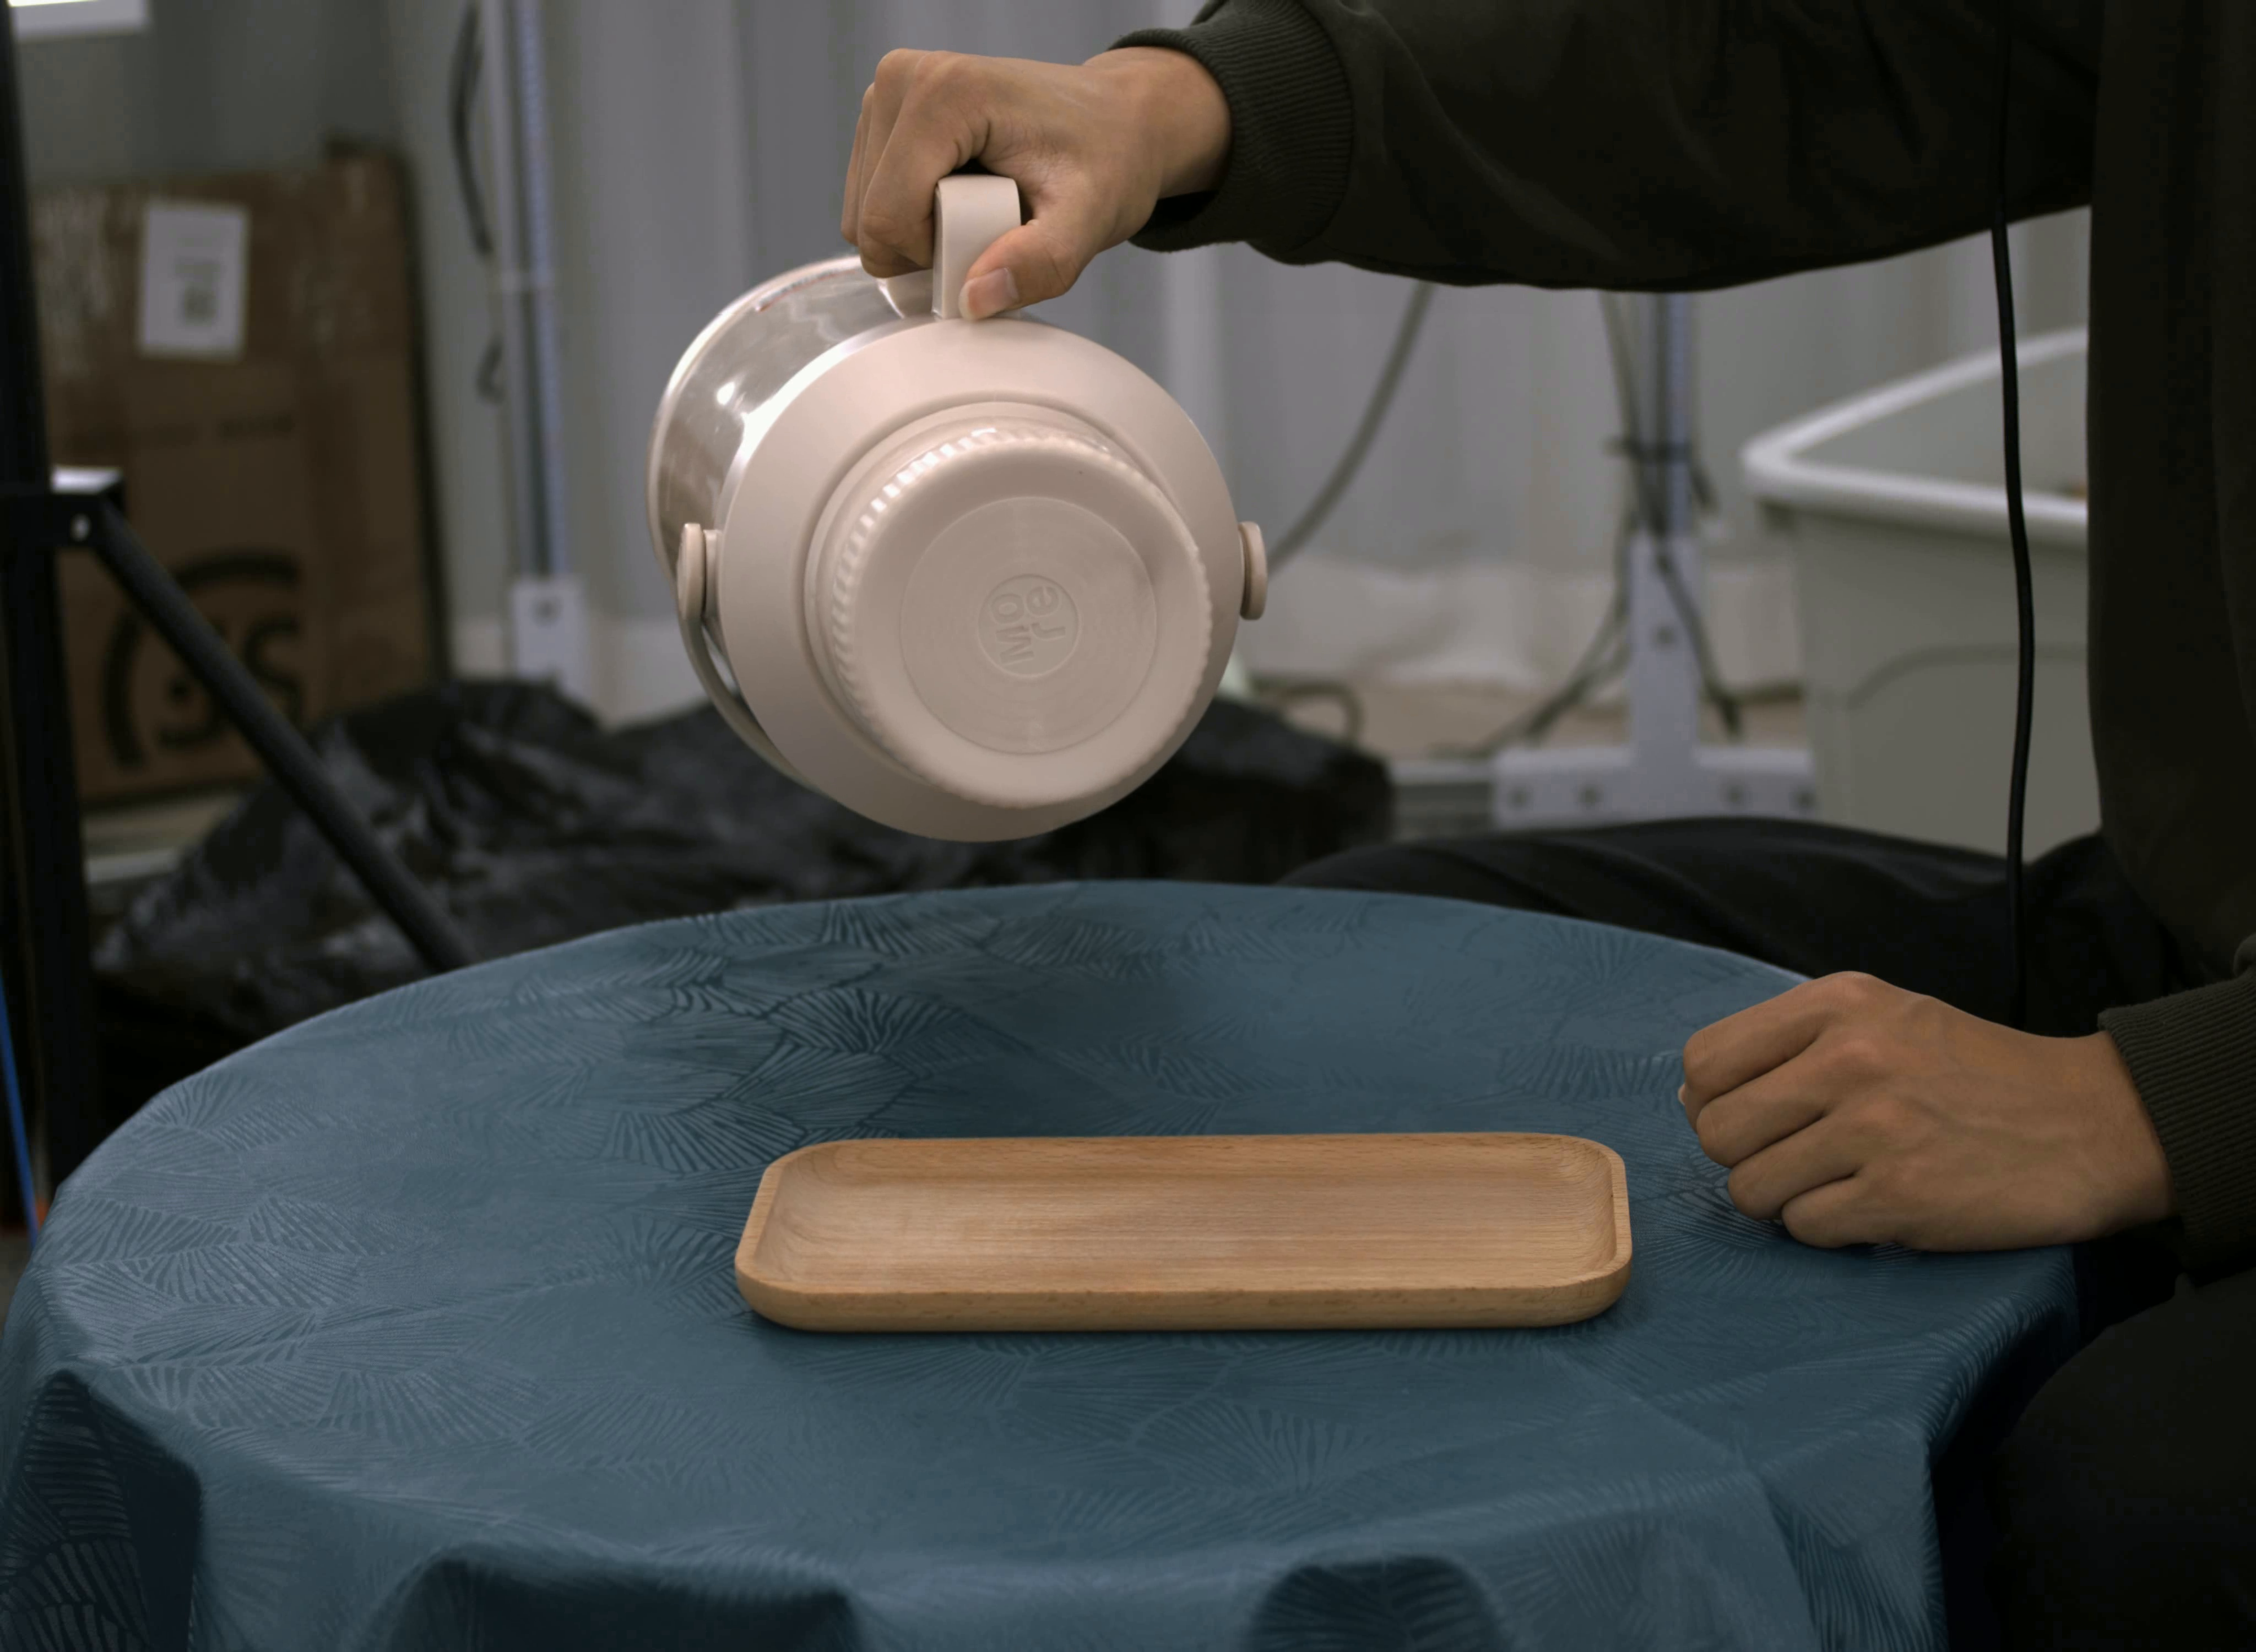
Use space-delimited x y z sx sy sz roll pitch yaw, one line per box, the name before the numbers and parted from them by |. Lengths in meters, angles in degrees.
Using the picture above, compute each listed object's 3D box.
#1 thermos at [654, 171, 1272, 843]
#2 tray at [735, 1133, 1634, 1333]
thermos | -0.055 -0.101 1.661 0.173 0.207 0.409 -1 9 -7
tray | 0.018 0.115 1.503 0.251 0.023 0.130 0 18 6
